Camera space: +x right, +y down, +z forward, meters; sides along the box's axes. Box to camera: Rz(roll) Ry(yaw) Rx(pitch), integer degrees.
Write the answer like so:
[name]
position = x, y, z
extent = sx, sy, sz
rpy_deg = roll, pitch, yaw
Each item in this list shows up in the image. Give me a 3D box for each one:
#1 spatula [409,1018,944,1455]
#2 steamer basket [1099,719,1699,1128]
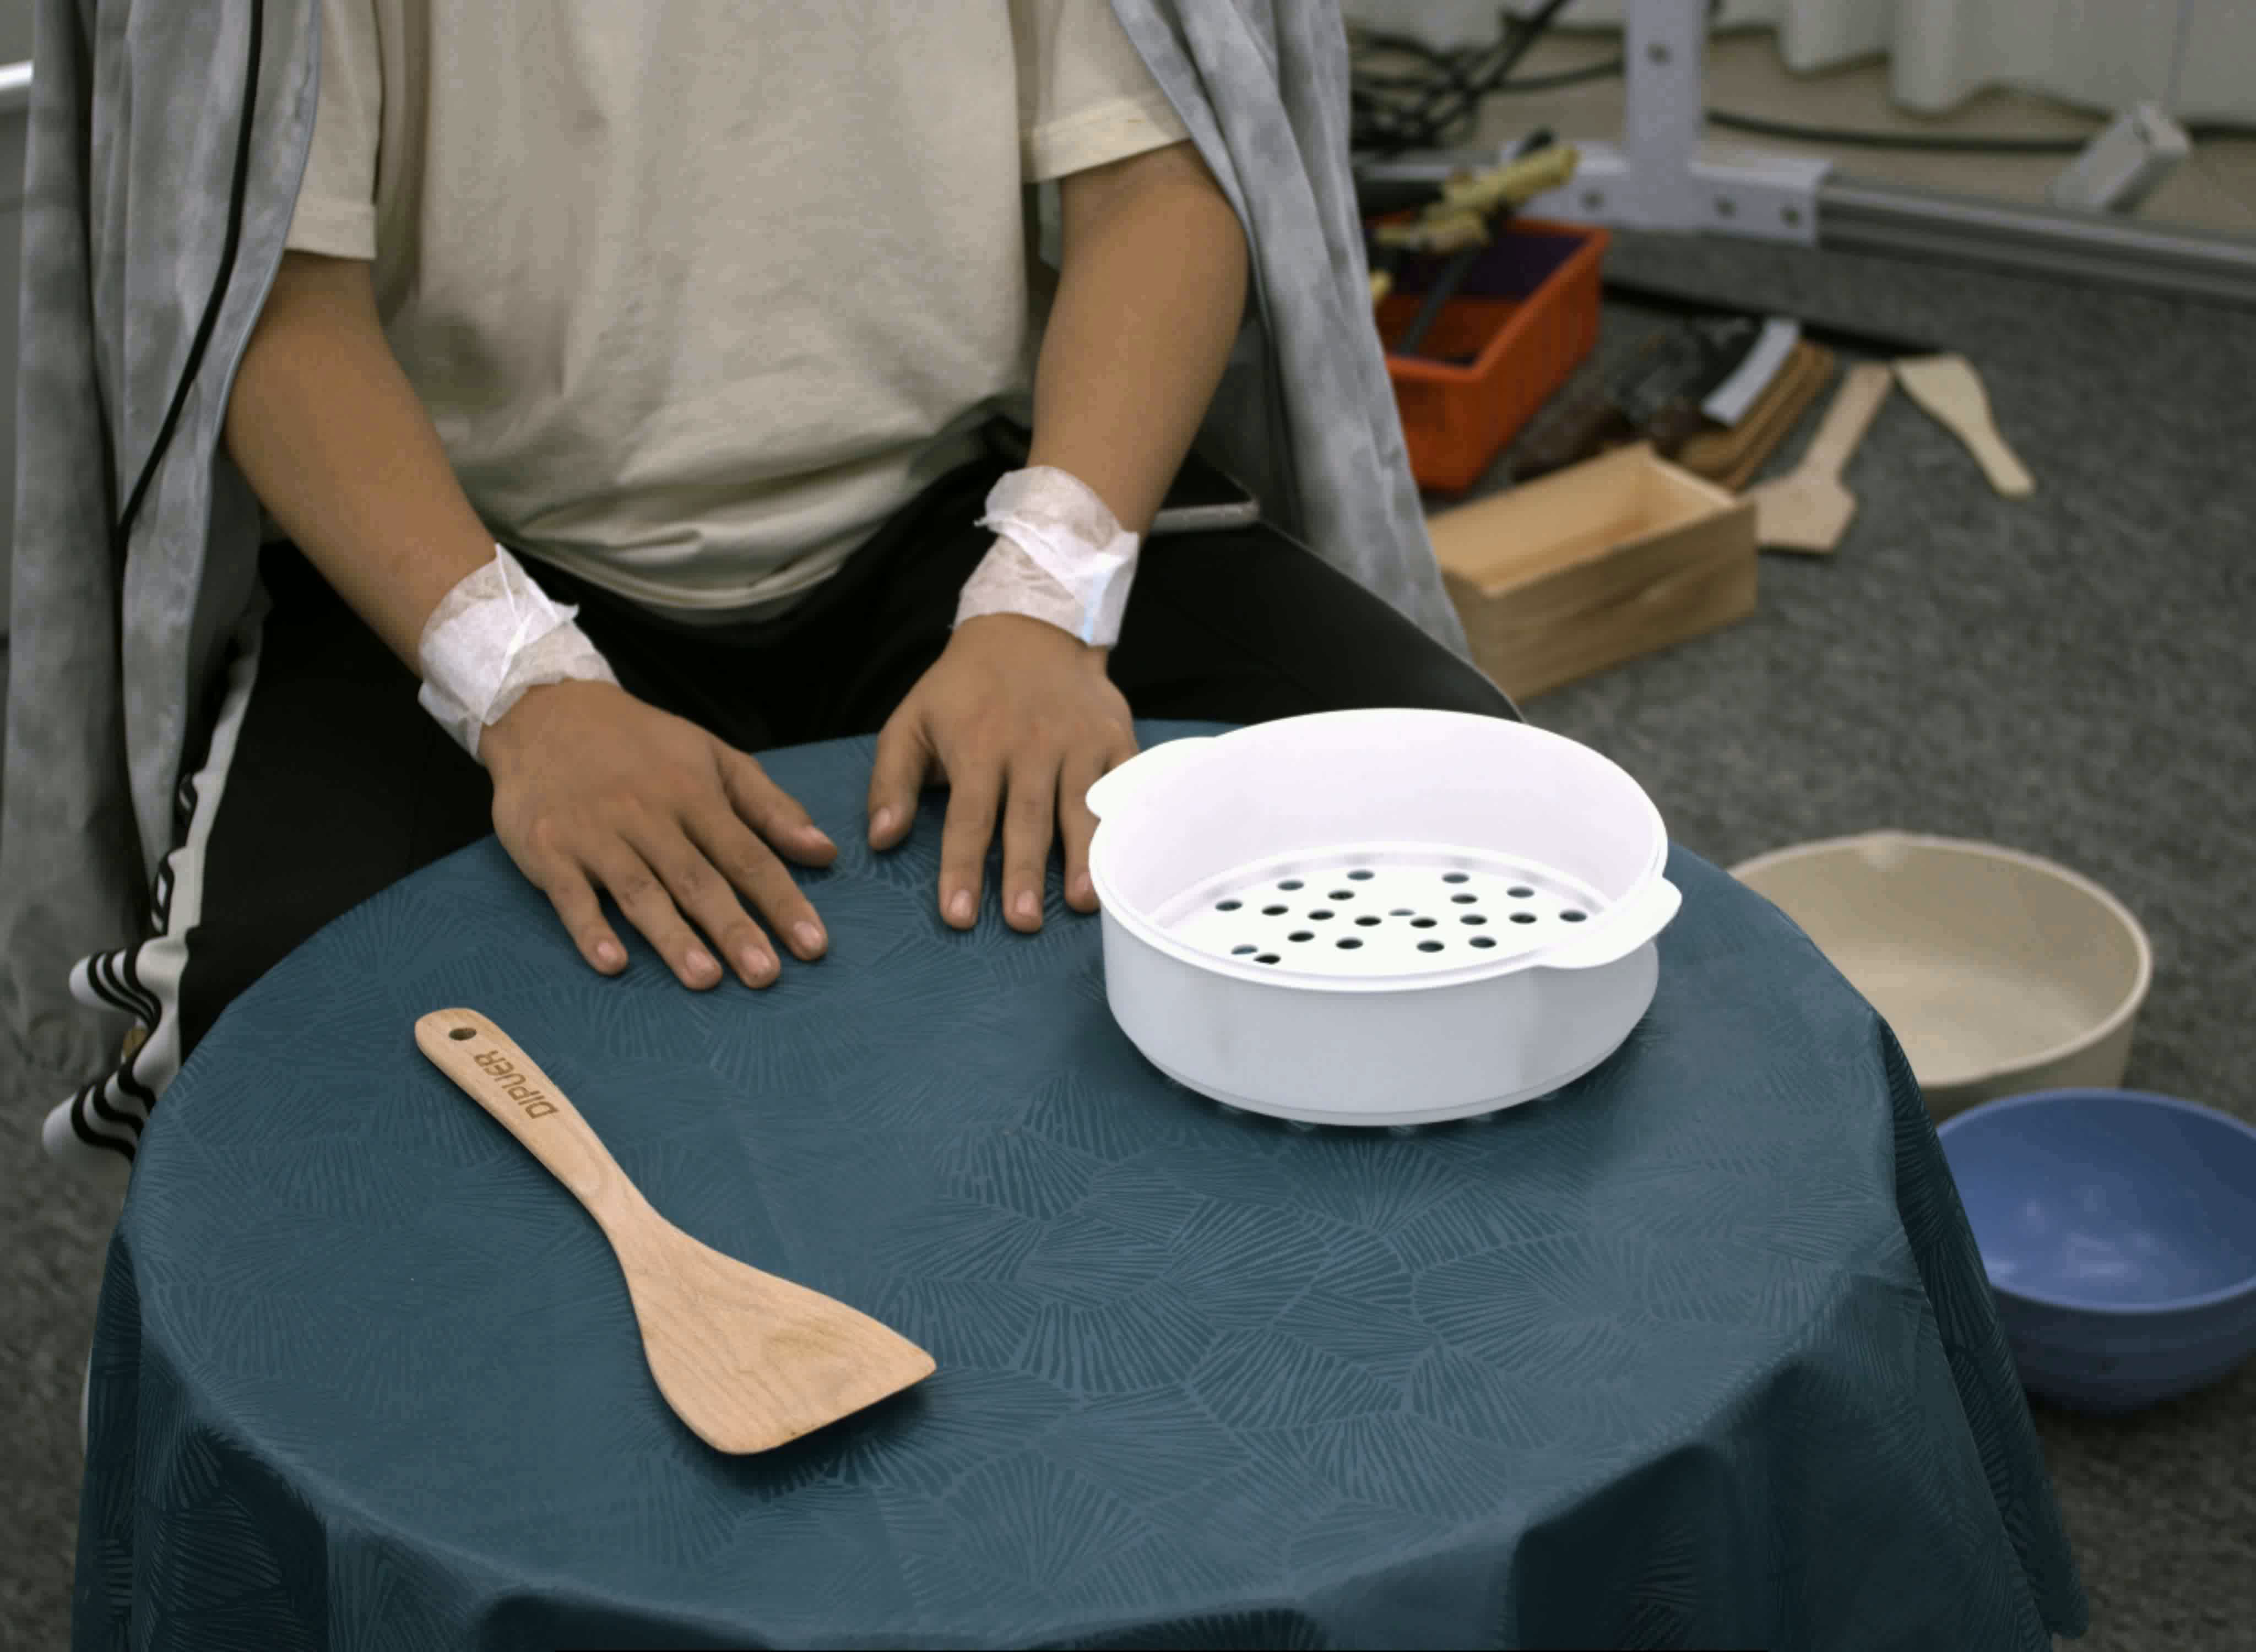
[spatula]
position = -0.163, 0.127, 1.846
extent = 0.080, 0.016, 0.329
rpy_deg = -16, 29, -25
[steamer basket]
position = 0.092, 0.034, 1.949
extent = 0.230, 0.068, 0.204
rpy_deg = 18, 33, 36
